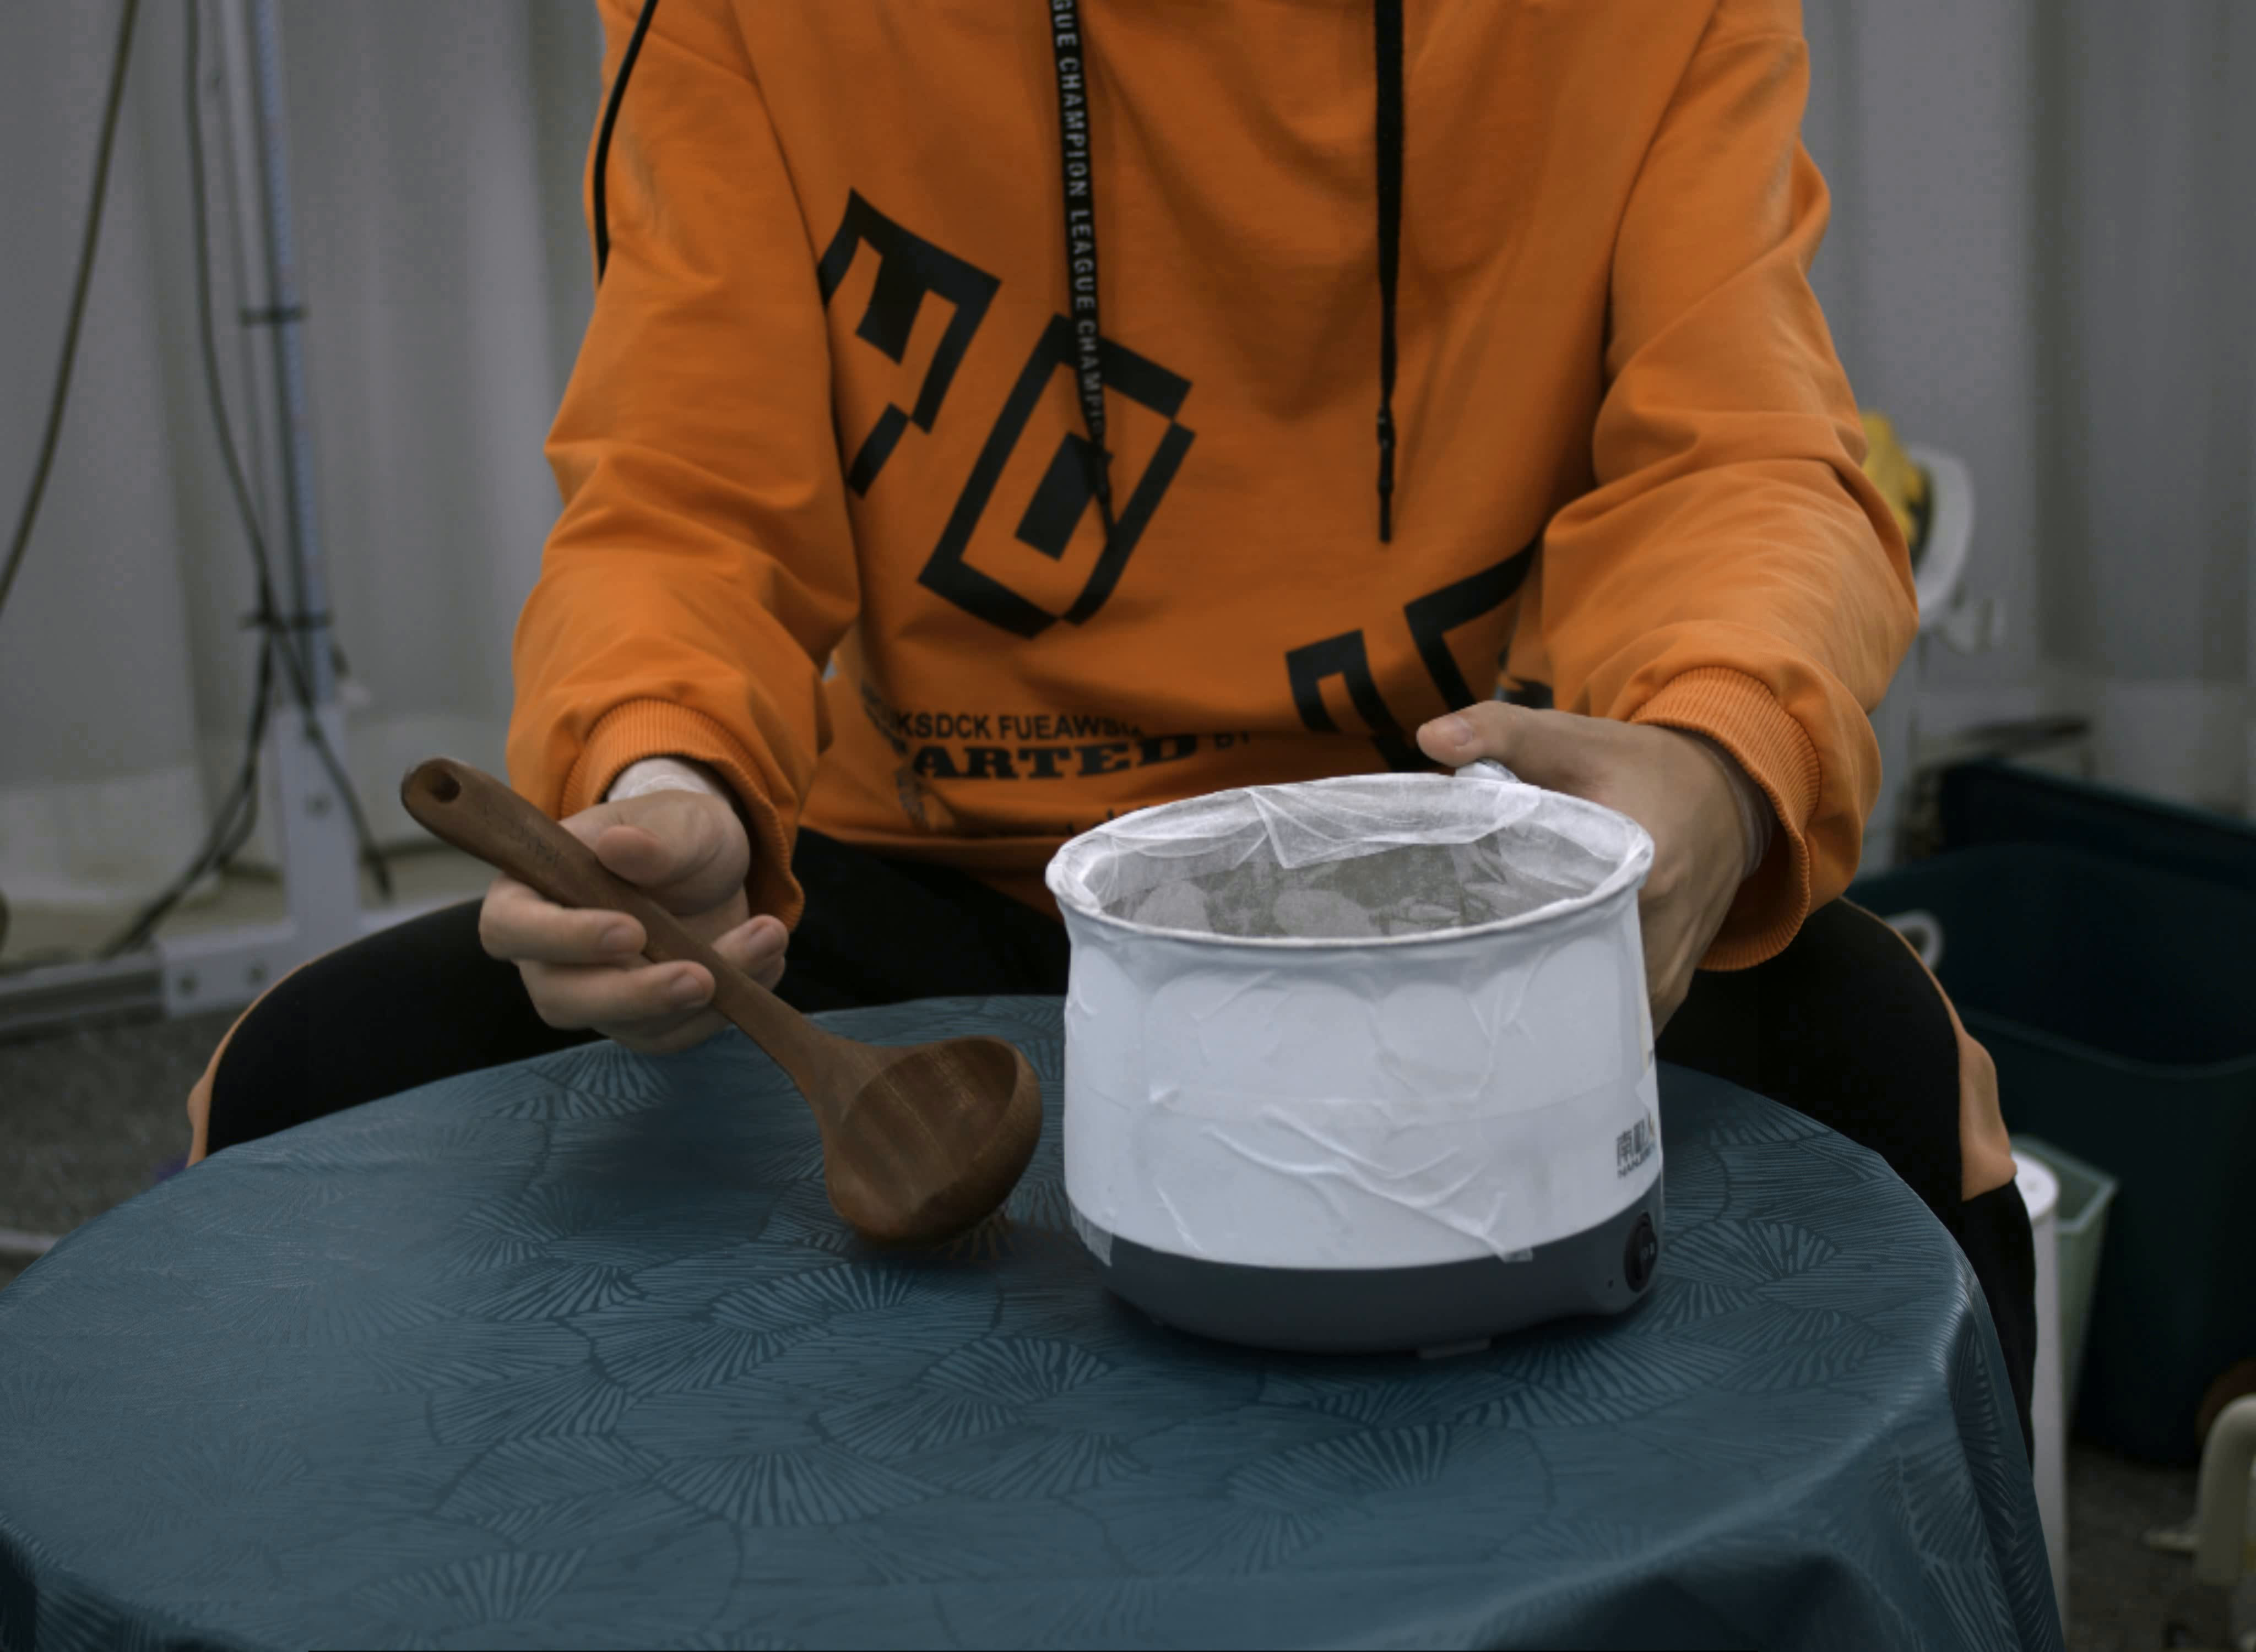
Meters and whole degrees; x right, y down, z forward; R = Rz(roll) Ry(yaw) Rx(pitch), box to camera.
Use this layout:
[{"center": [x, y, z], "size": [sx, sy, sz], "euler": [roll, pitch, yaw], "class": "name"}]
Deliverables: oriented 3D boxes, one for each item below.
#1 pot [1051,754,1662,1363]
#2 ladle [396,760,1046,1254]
[{"center": [0.079, 0.063, 1.630], "size": [0.179, 0.136, 0.234], "euler": [4, 17, 24], "class": "pot"}, {"center": [-0.134, 0.044, 1.706], "size": [0.262, 0.064, 0.077], "euler": [36, 70, 19], "class": "ladle"}]
